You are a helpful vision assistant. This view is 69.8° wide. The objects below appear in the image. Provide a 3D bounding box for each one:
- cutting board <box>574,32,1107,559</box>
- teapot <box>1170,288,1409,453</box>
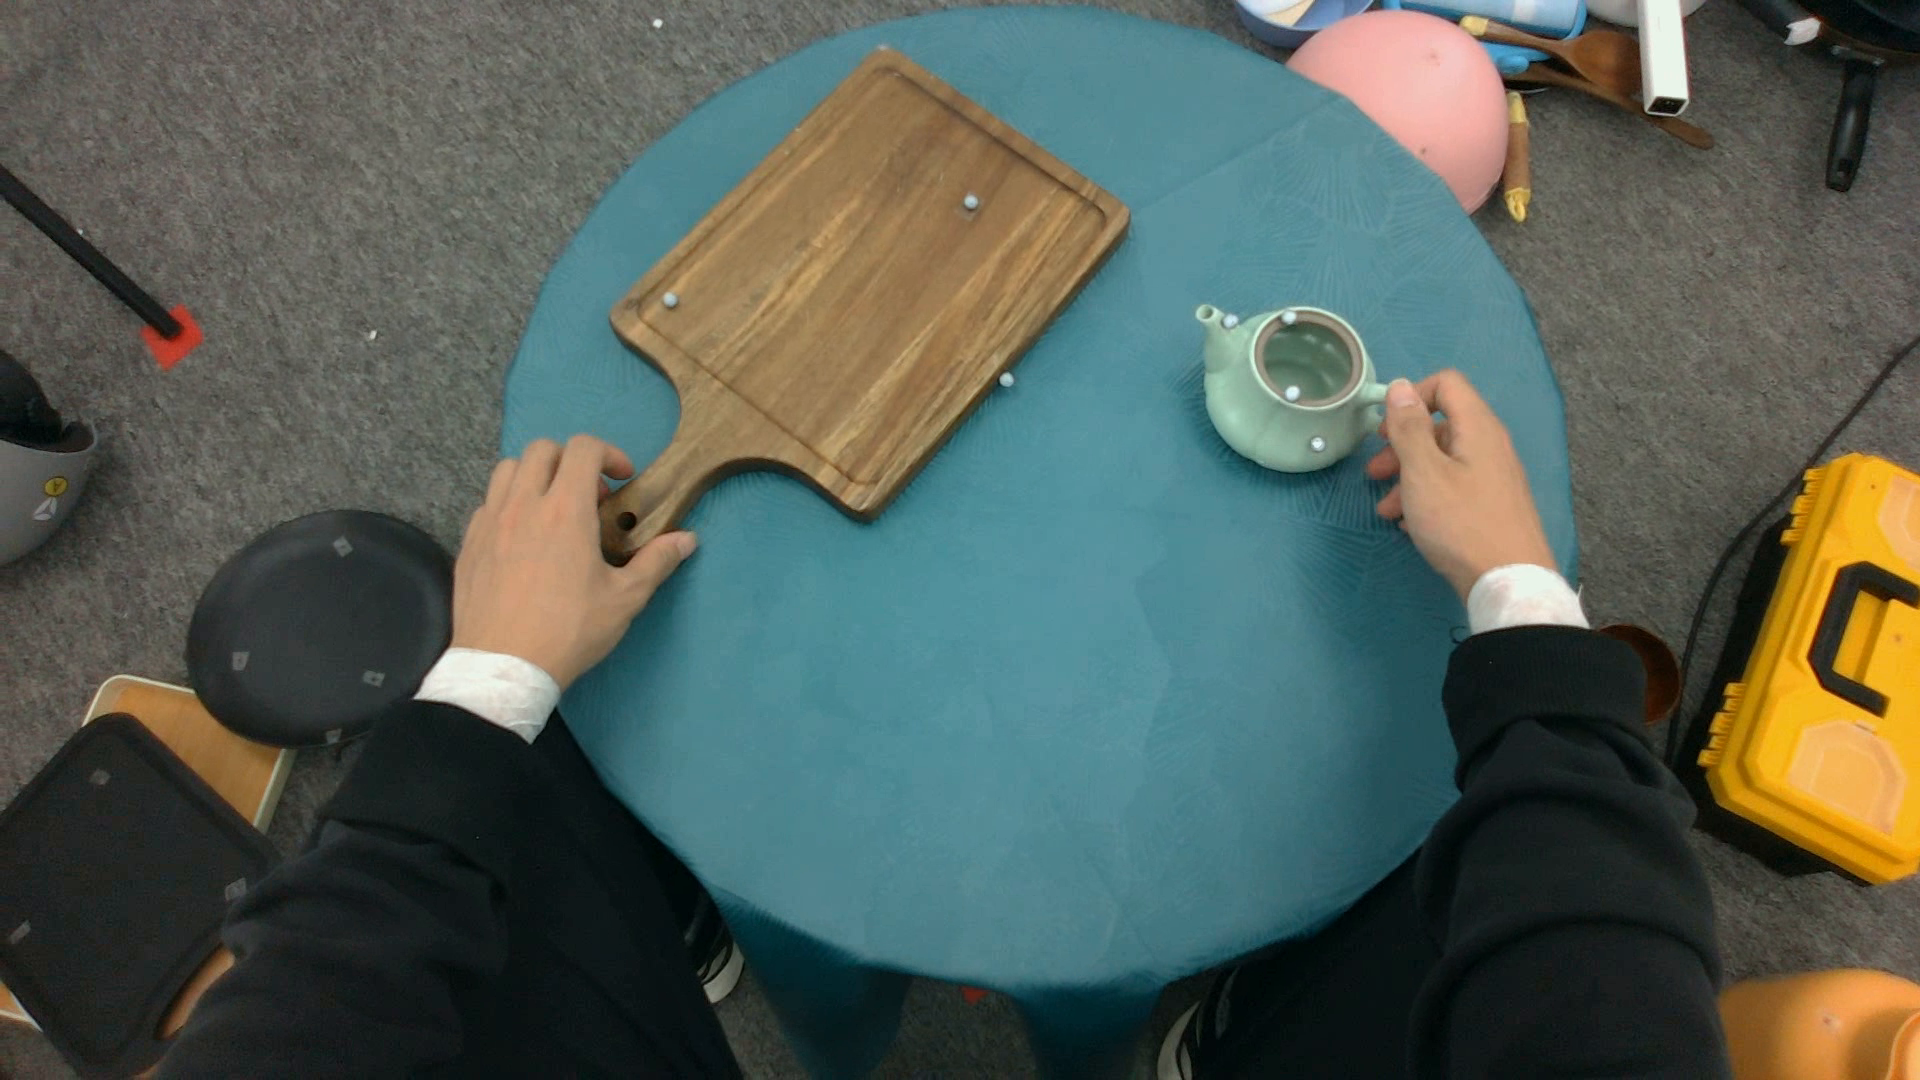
[{"bbox_3d":[-0.092,-0.128,0.782,0.201,0.023,0.353,36,73,12],"label":"cutting board"},{"bbox_3d":[0.176,-0.096,0.756,0.137,0.061,0.096,23,69,7],"label":"teapot"}]
